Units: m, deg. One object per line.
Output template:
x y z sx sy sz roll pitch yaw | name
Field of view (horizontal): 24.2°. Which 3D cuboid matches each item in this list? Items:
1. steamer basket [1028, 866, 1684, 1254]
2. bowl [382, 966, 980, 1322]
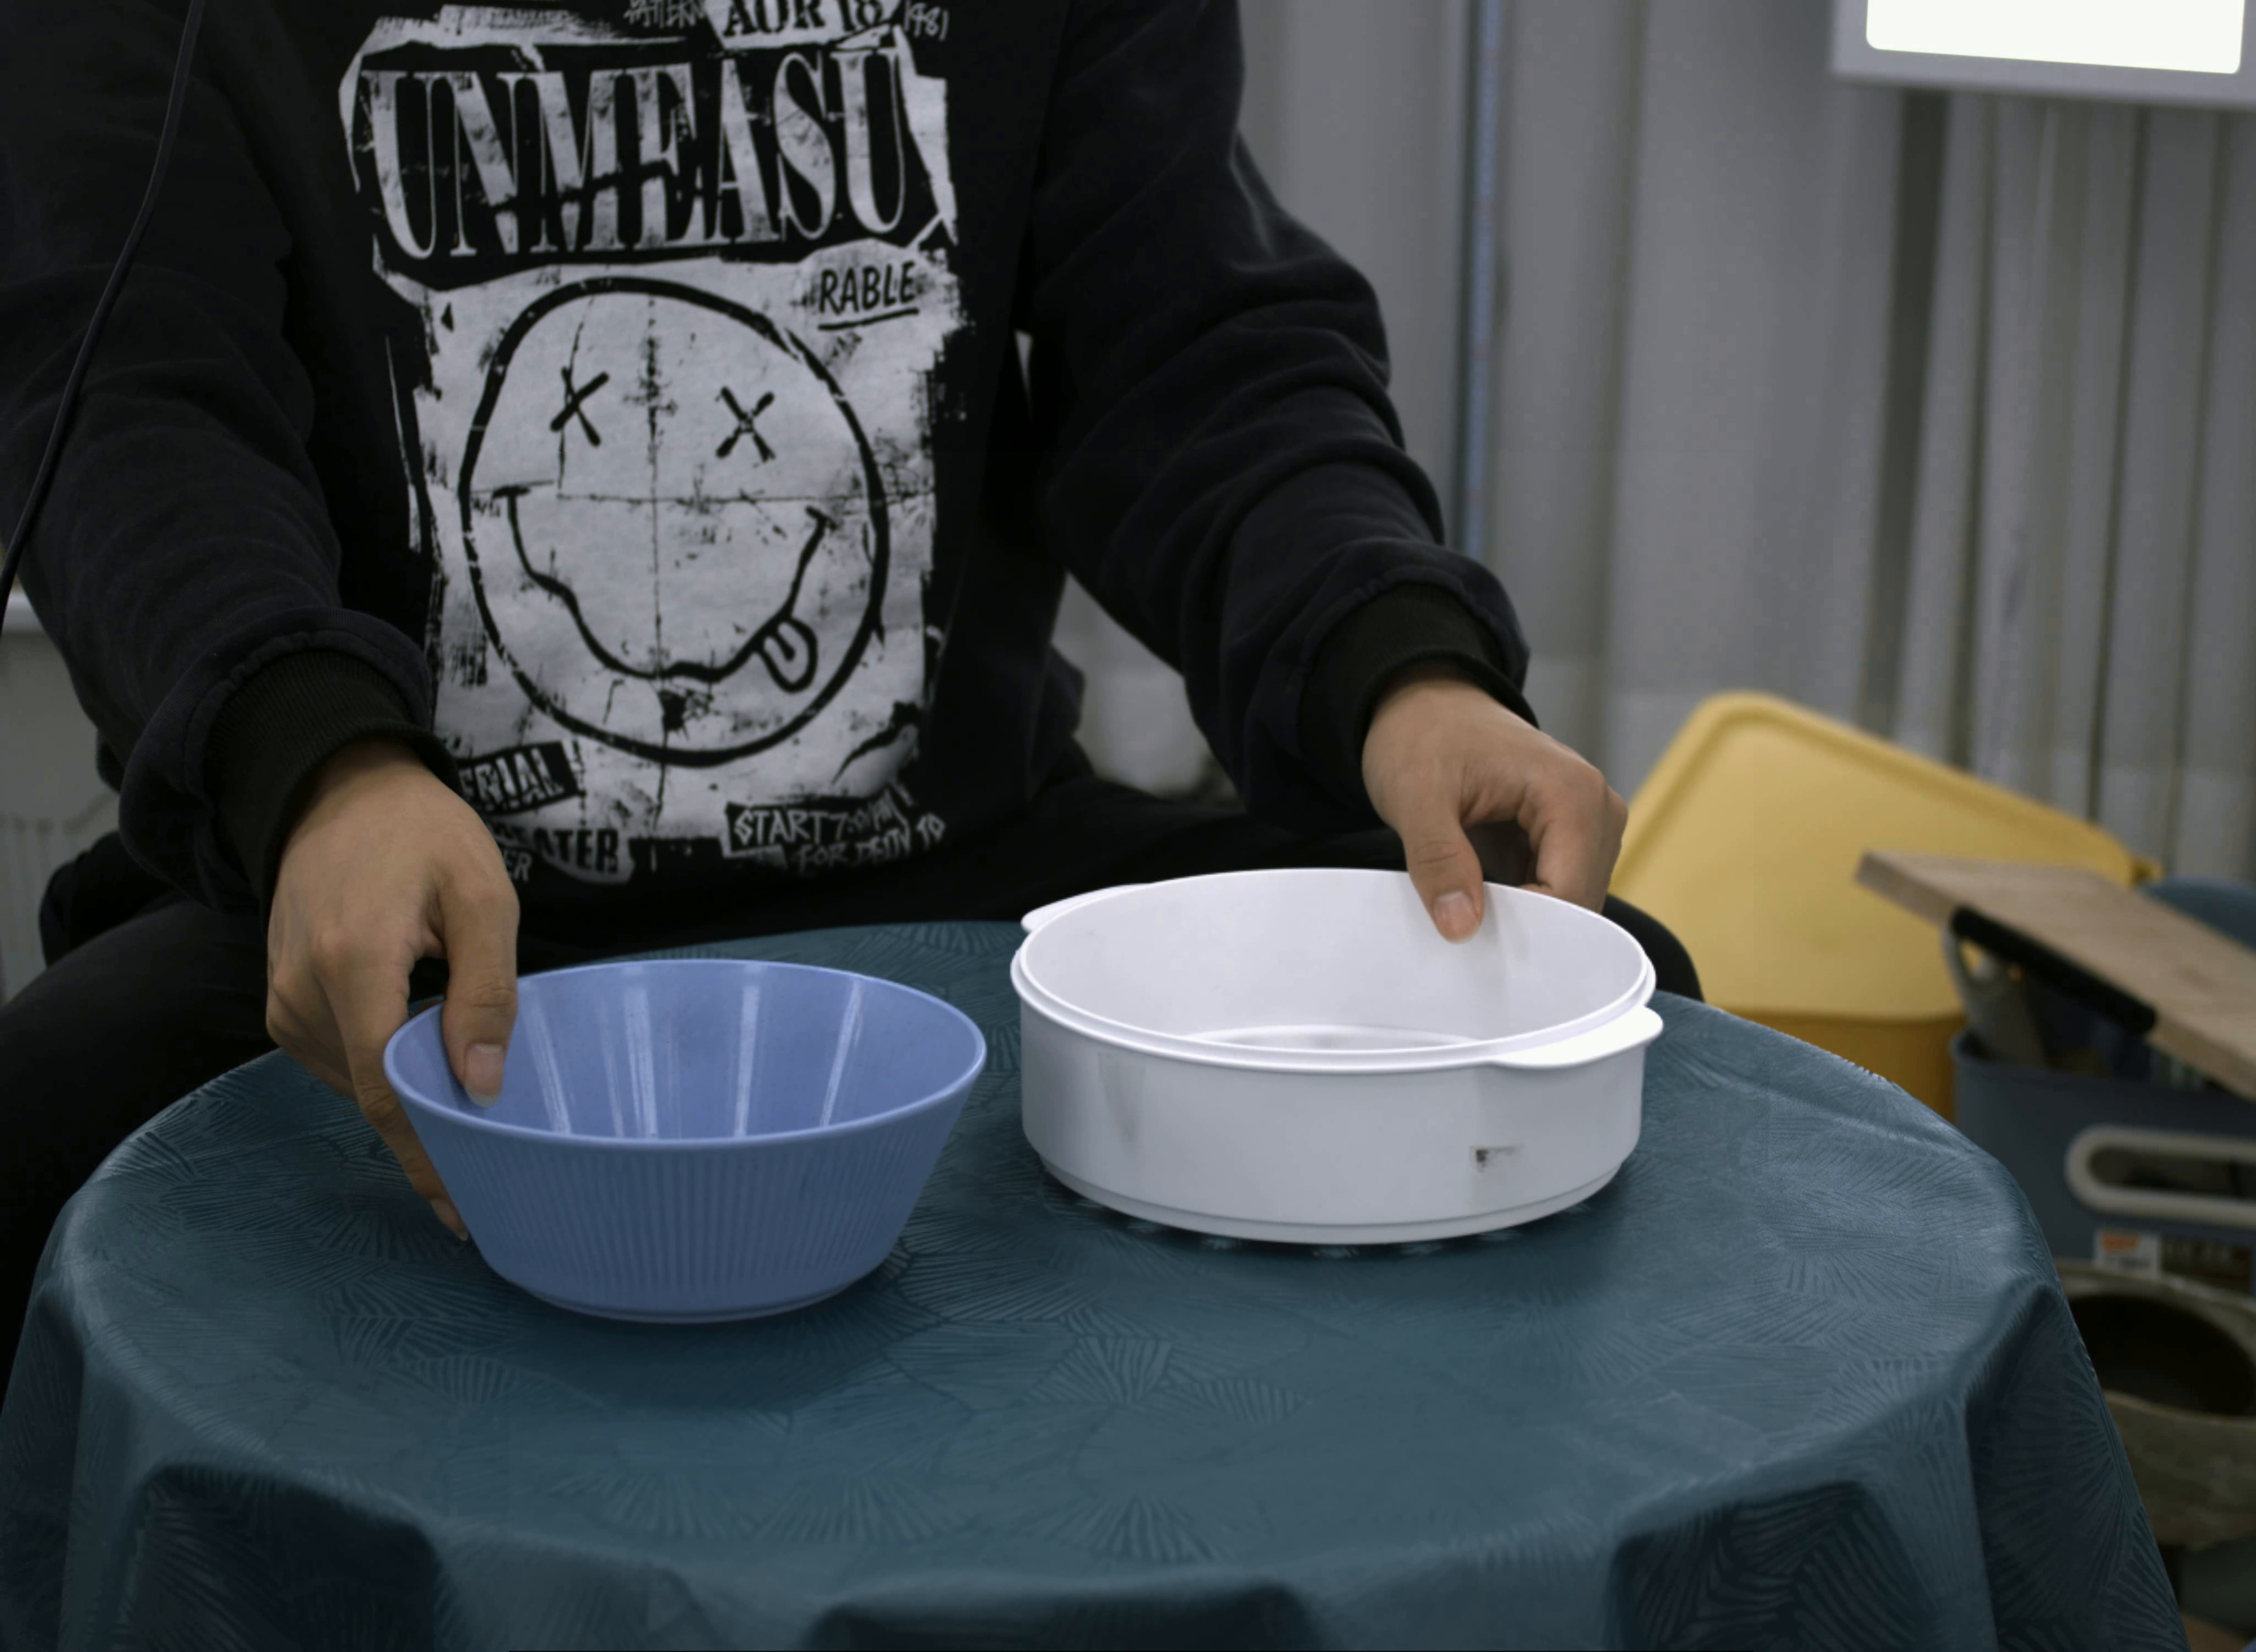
0.068 0.073 1.645 0.227 0.070 0.203 17 23 39 | steamer basket
-0.131 0.096 1.550 0.175 0.071 0.175 2 15 0 | bowl
